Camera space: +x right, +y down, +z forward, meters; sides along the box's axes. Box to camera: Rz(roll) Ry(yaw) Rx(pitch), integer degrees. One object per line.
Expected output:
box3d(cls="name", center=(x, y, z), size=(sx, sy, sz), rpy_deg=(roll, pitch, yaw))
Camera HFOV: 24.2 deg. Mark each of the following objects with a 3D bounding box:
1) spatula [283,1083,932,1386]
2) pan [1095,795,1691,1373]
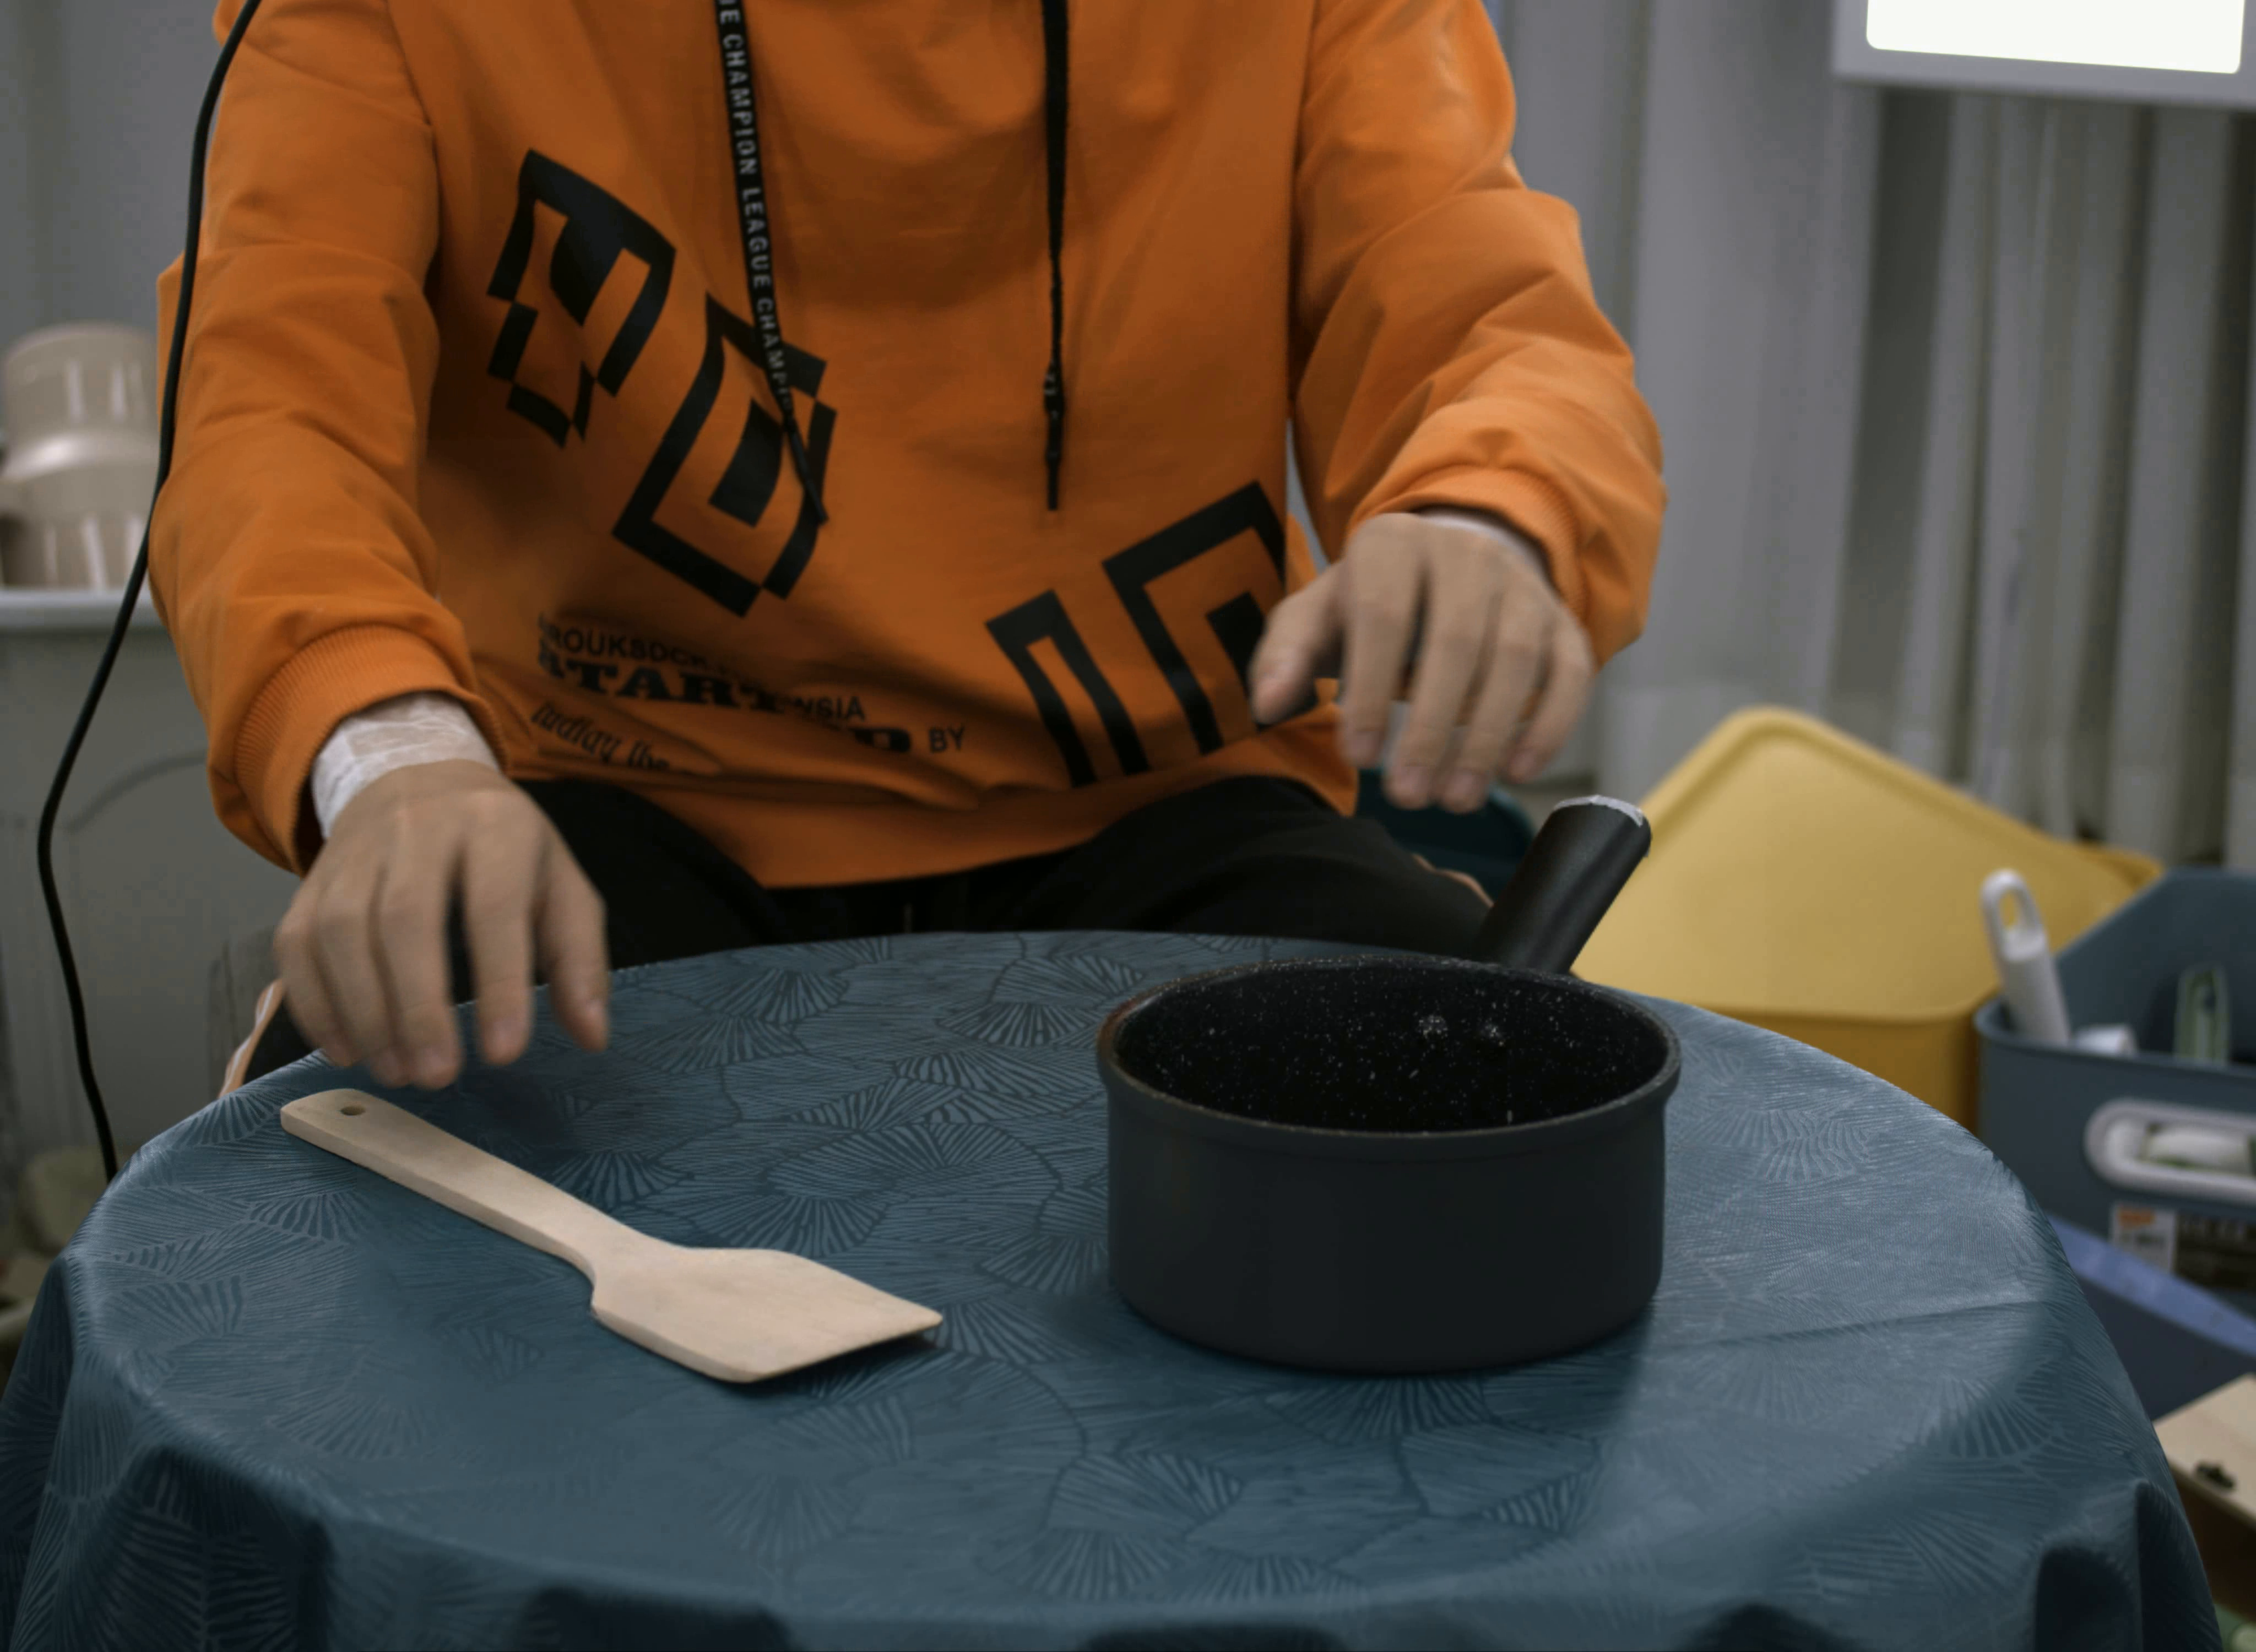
box3d(cls="spatula", center=(-0.172, 0.118, 1.578), size=(0.072, 0.011, 0.289), rpy_deg=(-16, 22, -37))
box3d(cls="pan", center=(0.105, 0.074, 1.606), size=(0.170, 0.087, 0.329), rpy_deg=(8, 19, 21))
